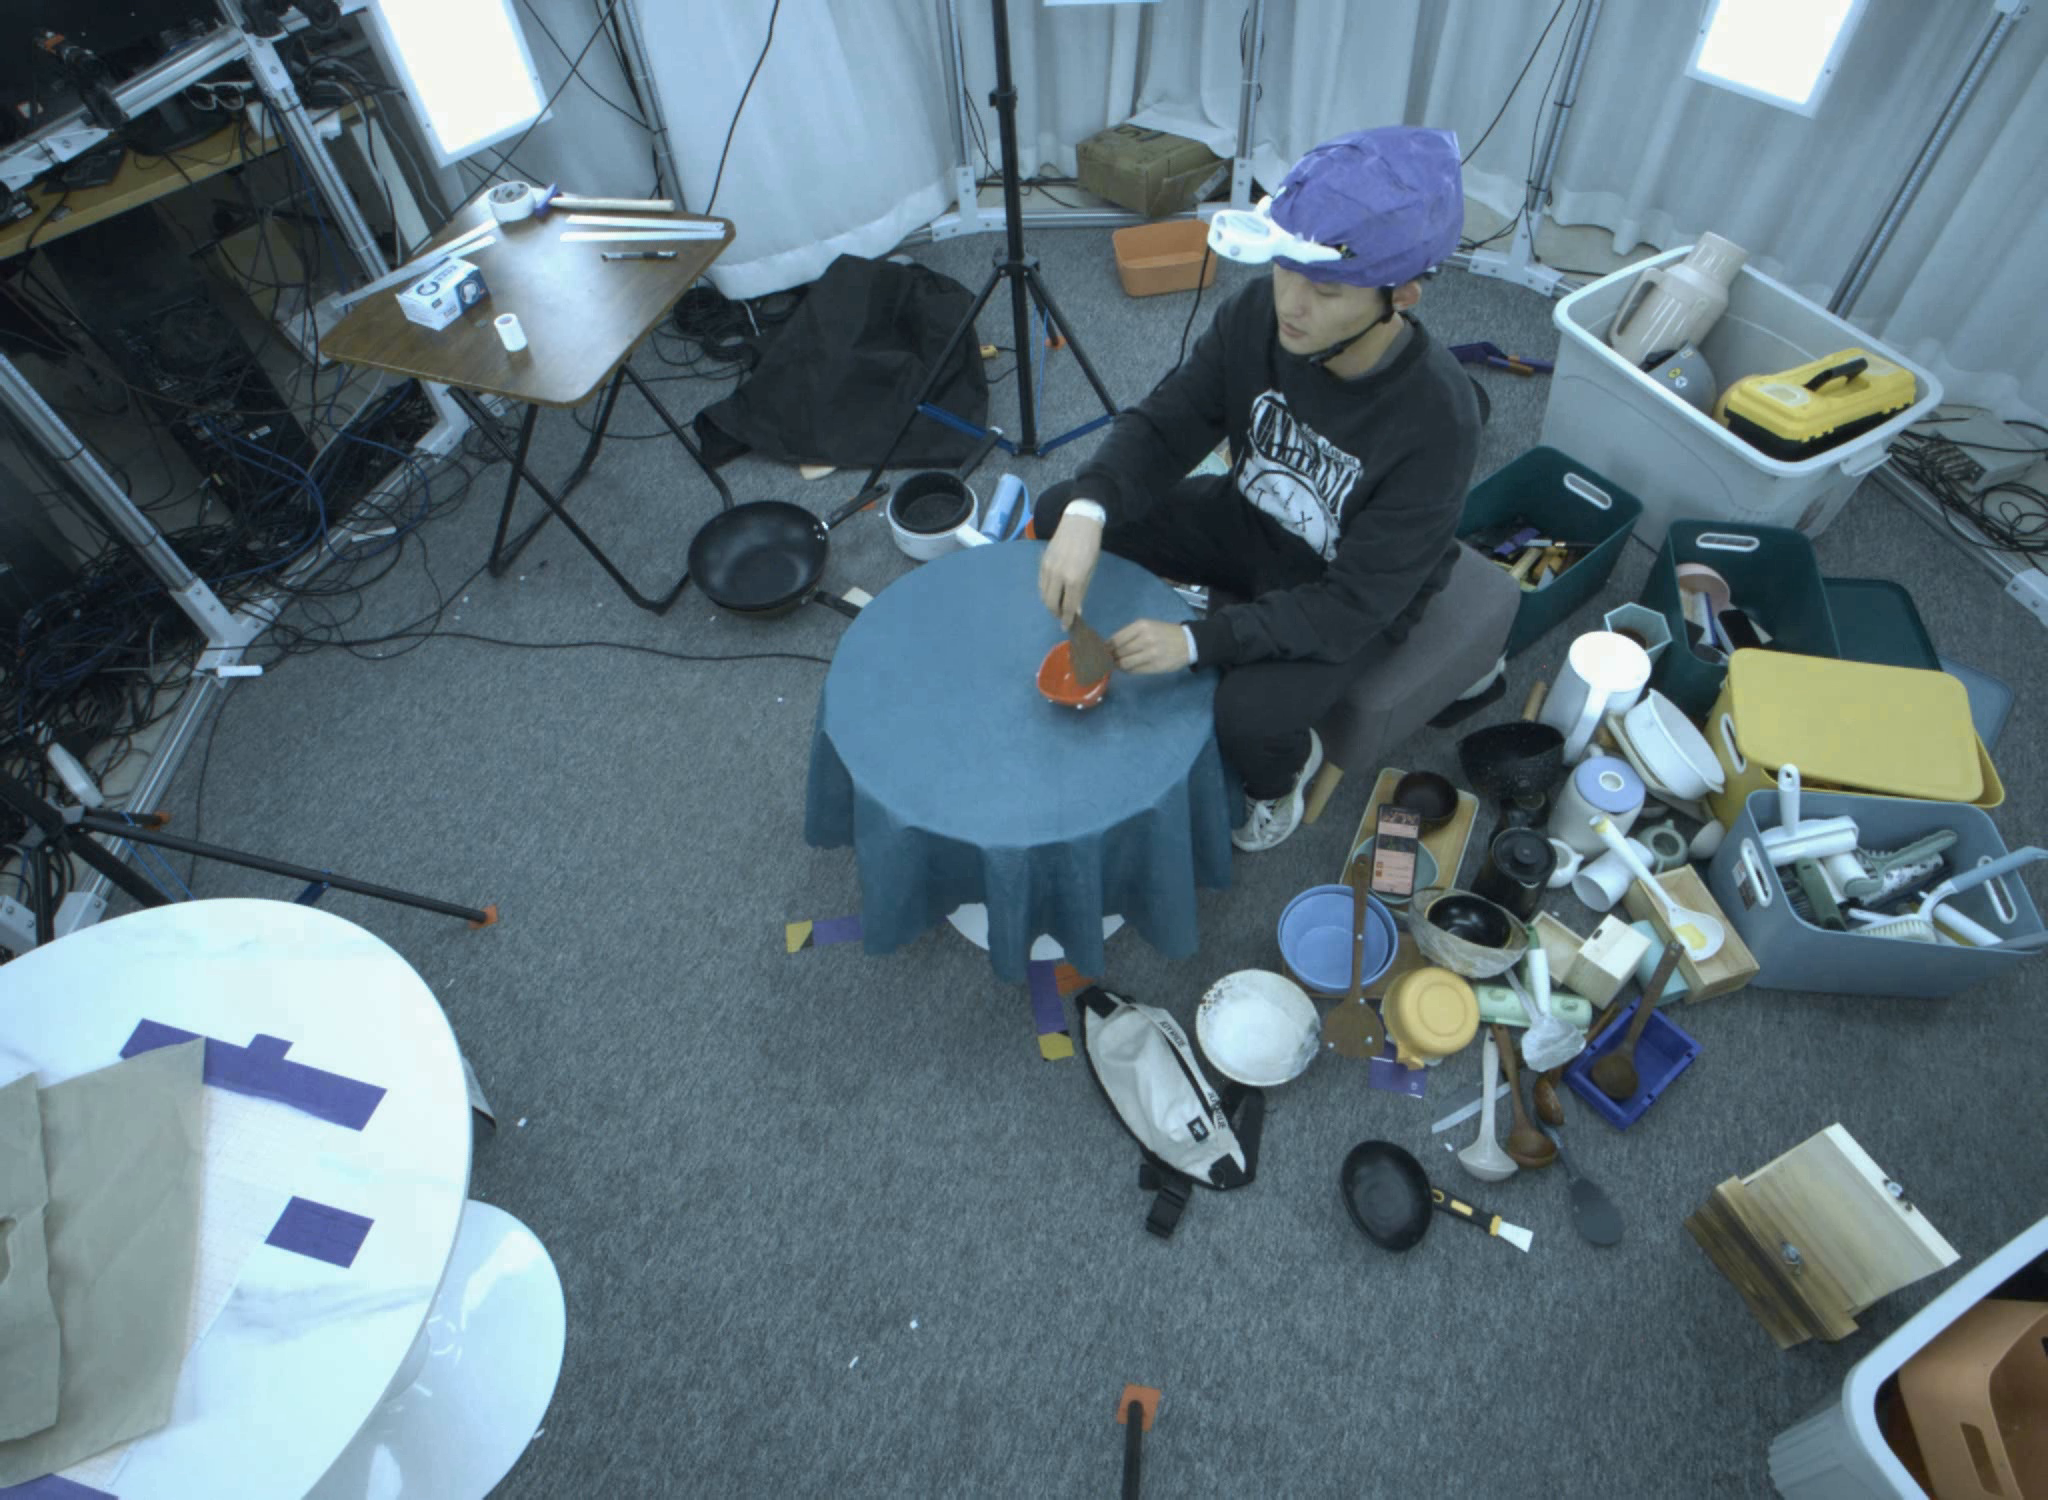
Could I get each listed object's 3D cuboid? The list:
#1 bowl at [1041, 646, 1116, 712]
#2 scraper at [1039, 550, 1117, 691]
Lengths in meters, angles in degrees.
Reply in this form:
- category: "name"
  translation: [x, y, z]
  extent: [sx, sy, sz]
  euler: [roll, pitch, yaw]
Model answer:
- category: "bowl"
  translation: [0.087, -0.098, 1.825]
  extent: [0.118, 0.052, 0.117]
  euler: [-12, 51, 16]
- category: "scraper"
  translation: [0.070, -0.191, 1.773]
  extent: [0.011, 0.075, 0.211]
  euler: [-20, 86, -51]
